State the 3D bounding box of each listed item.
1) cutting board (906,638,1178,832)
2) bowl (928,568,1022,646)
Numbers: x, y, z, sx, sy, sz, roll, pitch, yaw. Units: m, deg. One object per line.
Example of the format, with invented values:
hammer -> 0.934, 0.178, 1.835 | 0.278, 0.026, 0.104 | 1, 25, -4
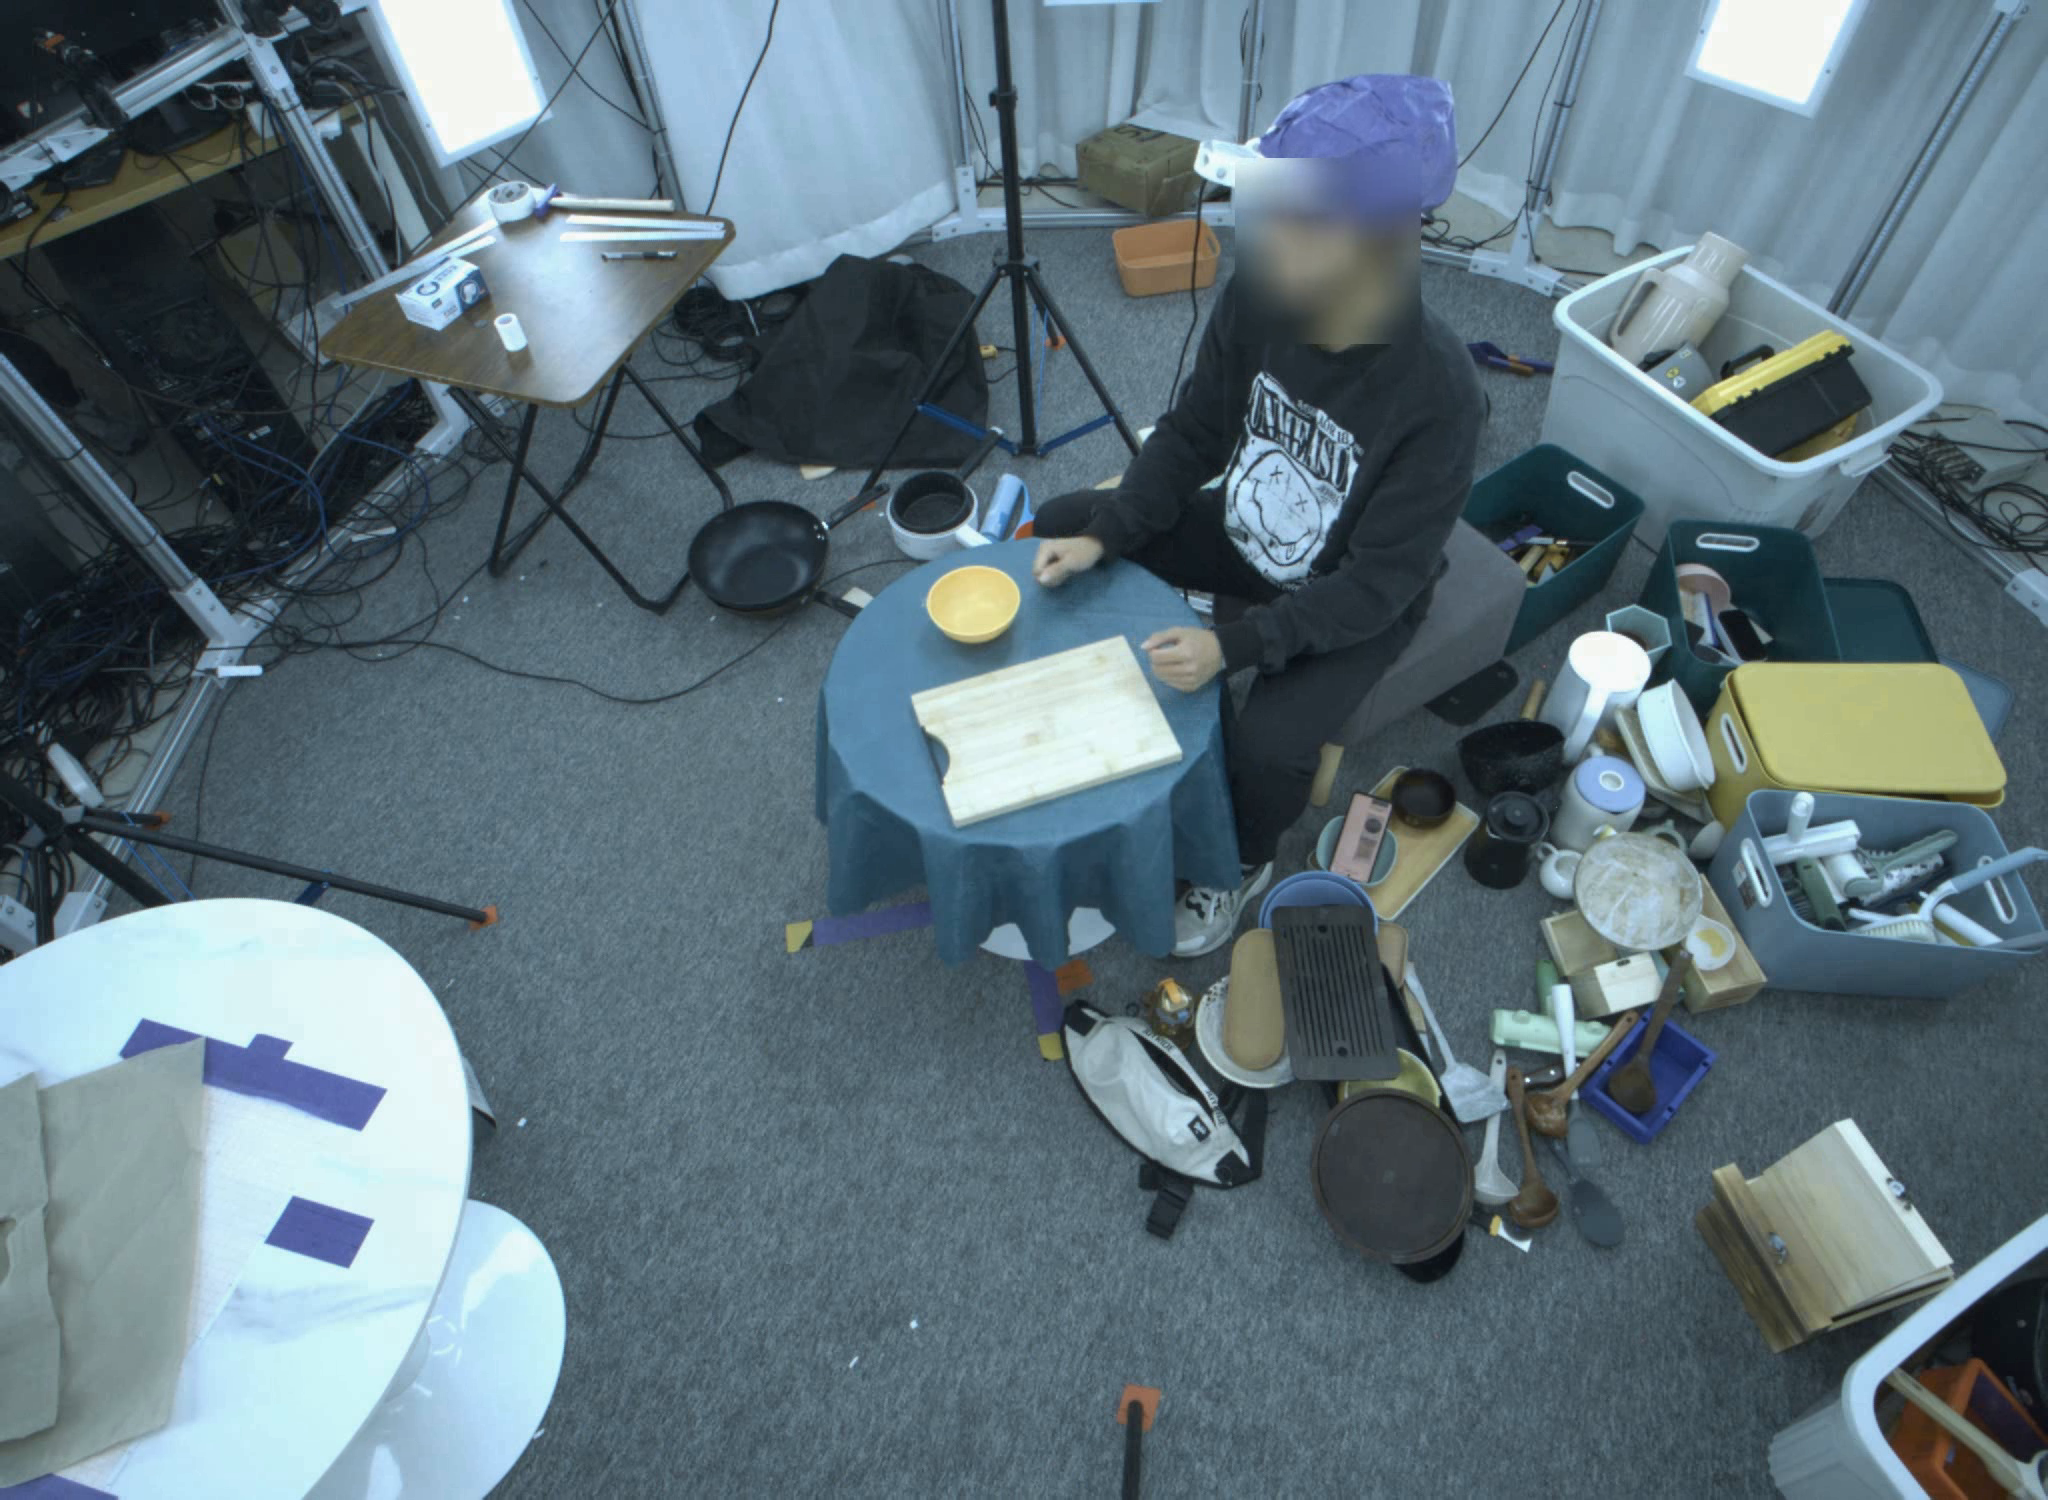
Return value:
cutting board -> 0.025, -0.028, 1.807 | 0.351, 0.024, 0.246 | -17, 56, -10
bowl -> -0.076, -0.211, 1.914 | 0.145, 0.060, 0.144 | 1, 57, 0
